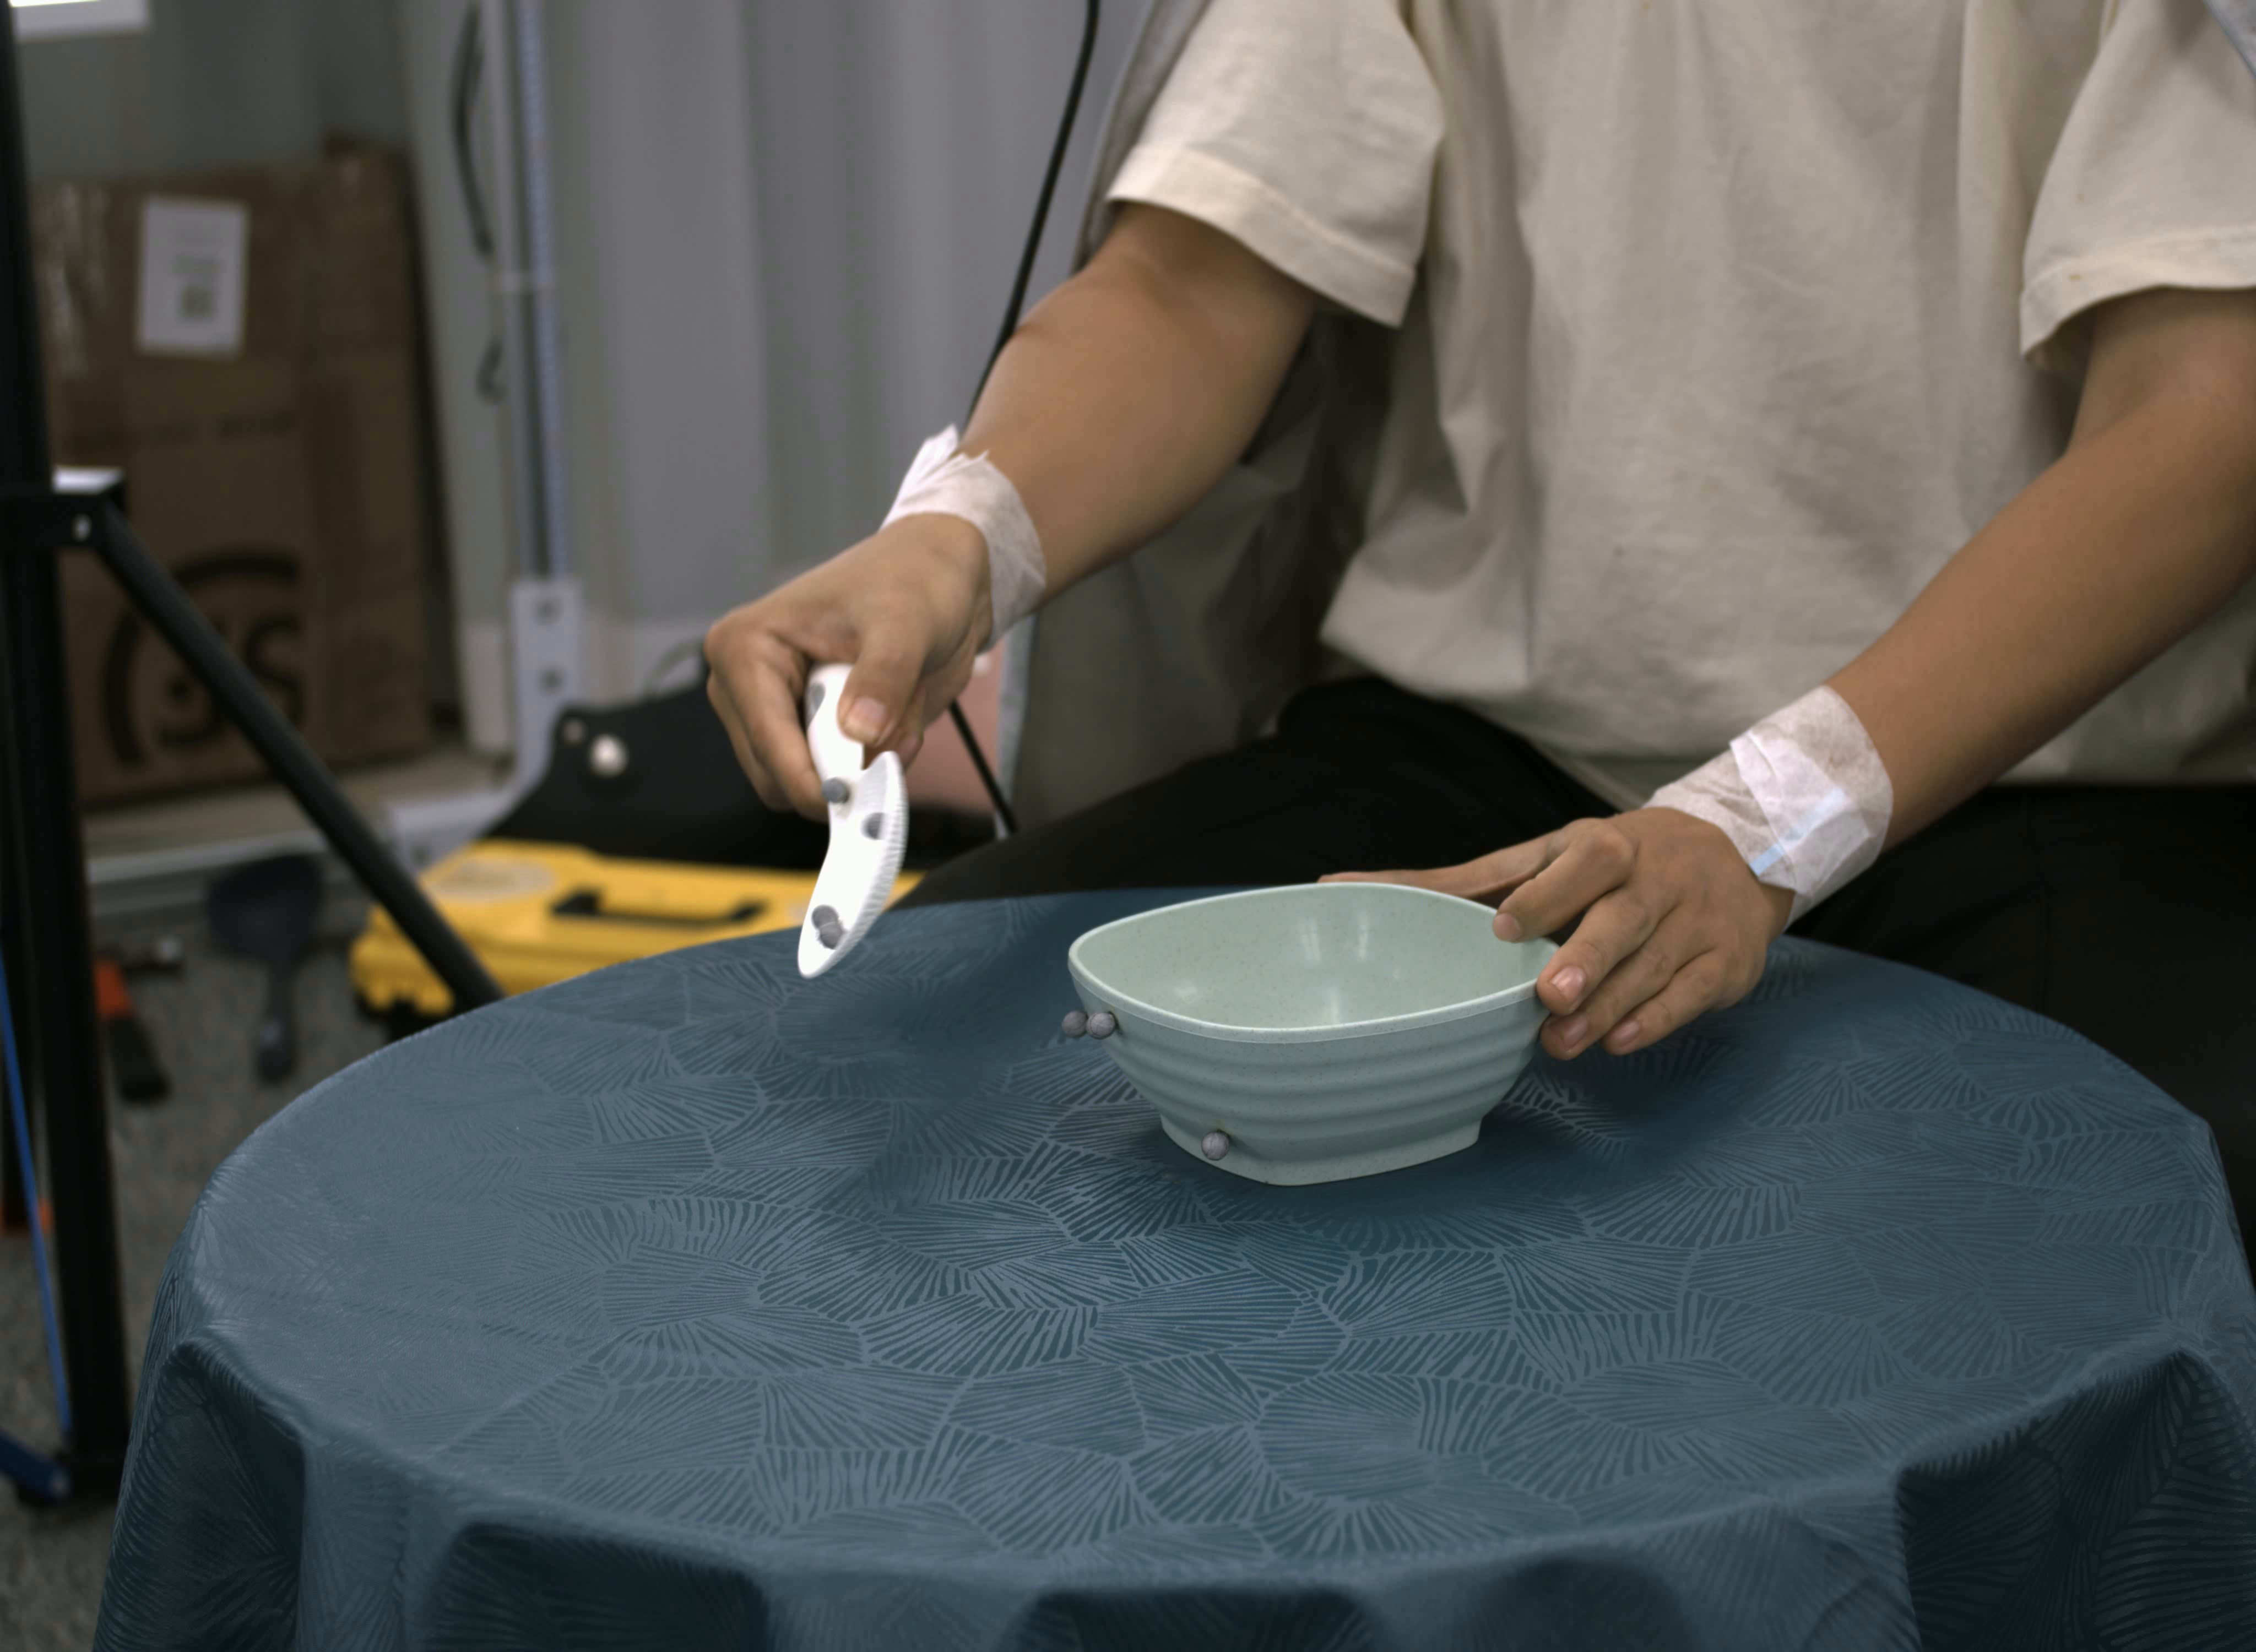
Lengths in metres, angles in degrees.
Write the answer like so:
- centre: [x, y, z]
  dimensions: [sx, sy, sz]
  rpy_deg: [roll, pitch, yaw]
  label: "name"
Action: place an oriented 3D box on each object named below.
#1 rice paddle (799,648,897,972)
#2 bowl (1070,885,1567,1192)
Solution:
- centre: [-0.088, -0.011, 1.646]
  dimensions: [0.029, 0.069, 0.206]
  rpy_deg: [19, 17, -9]
  label: "rice paddle"
- centre: [0.058, 0.067, 1.592]
  dimensions: [0.151, 0.058, 0.152]
  rpy_deg: [-4, 16, 0]
  label: "bowl"
